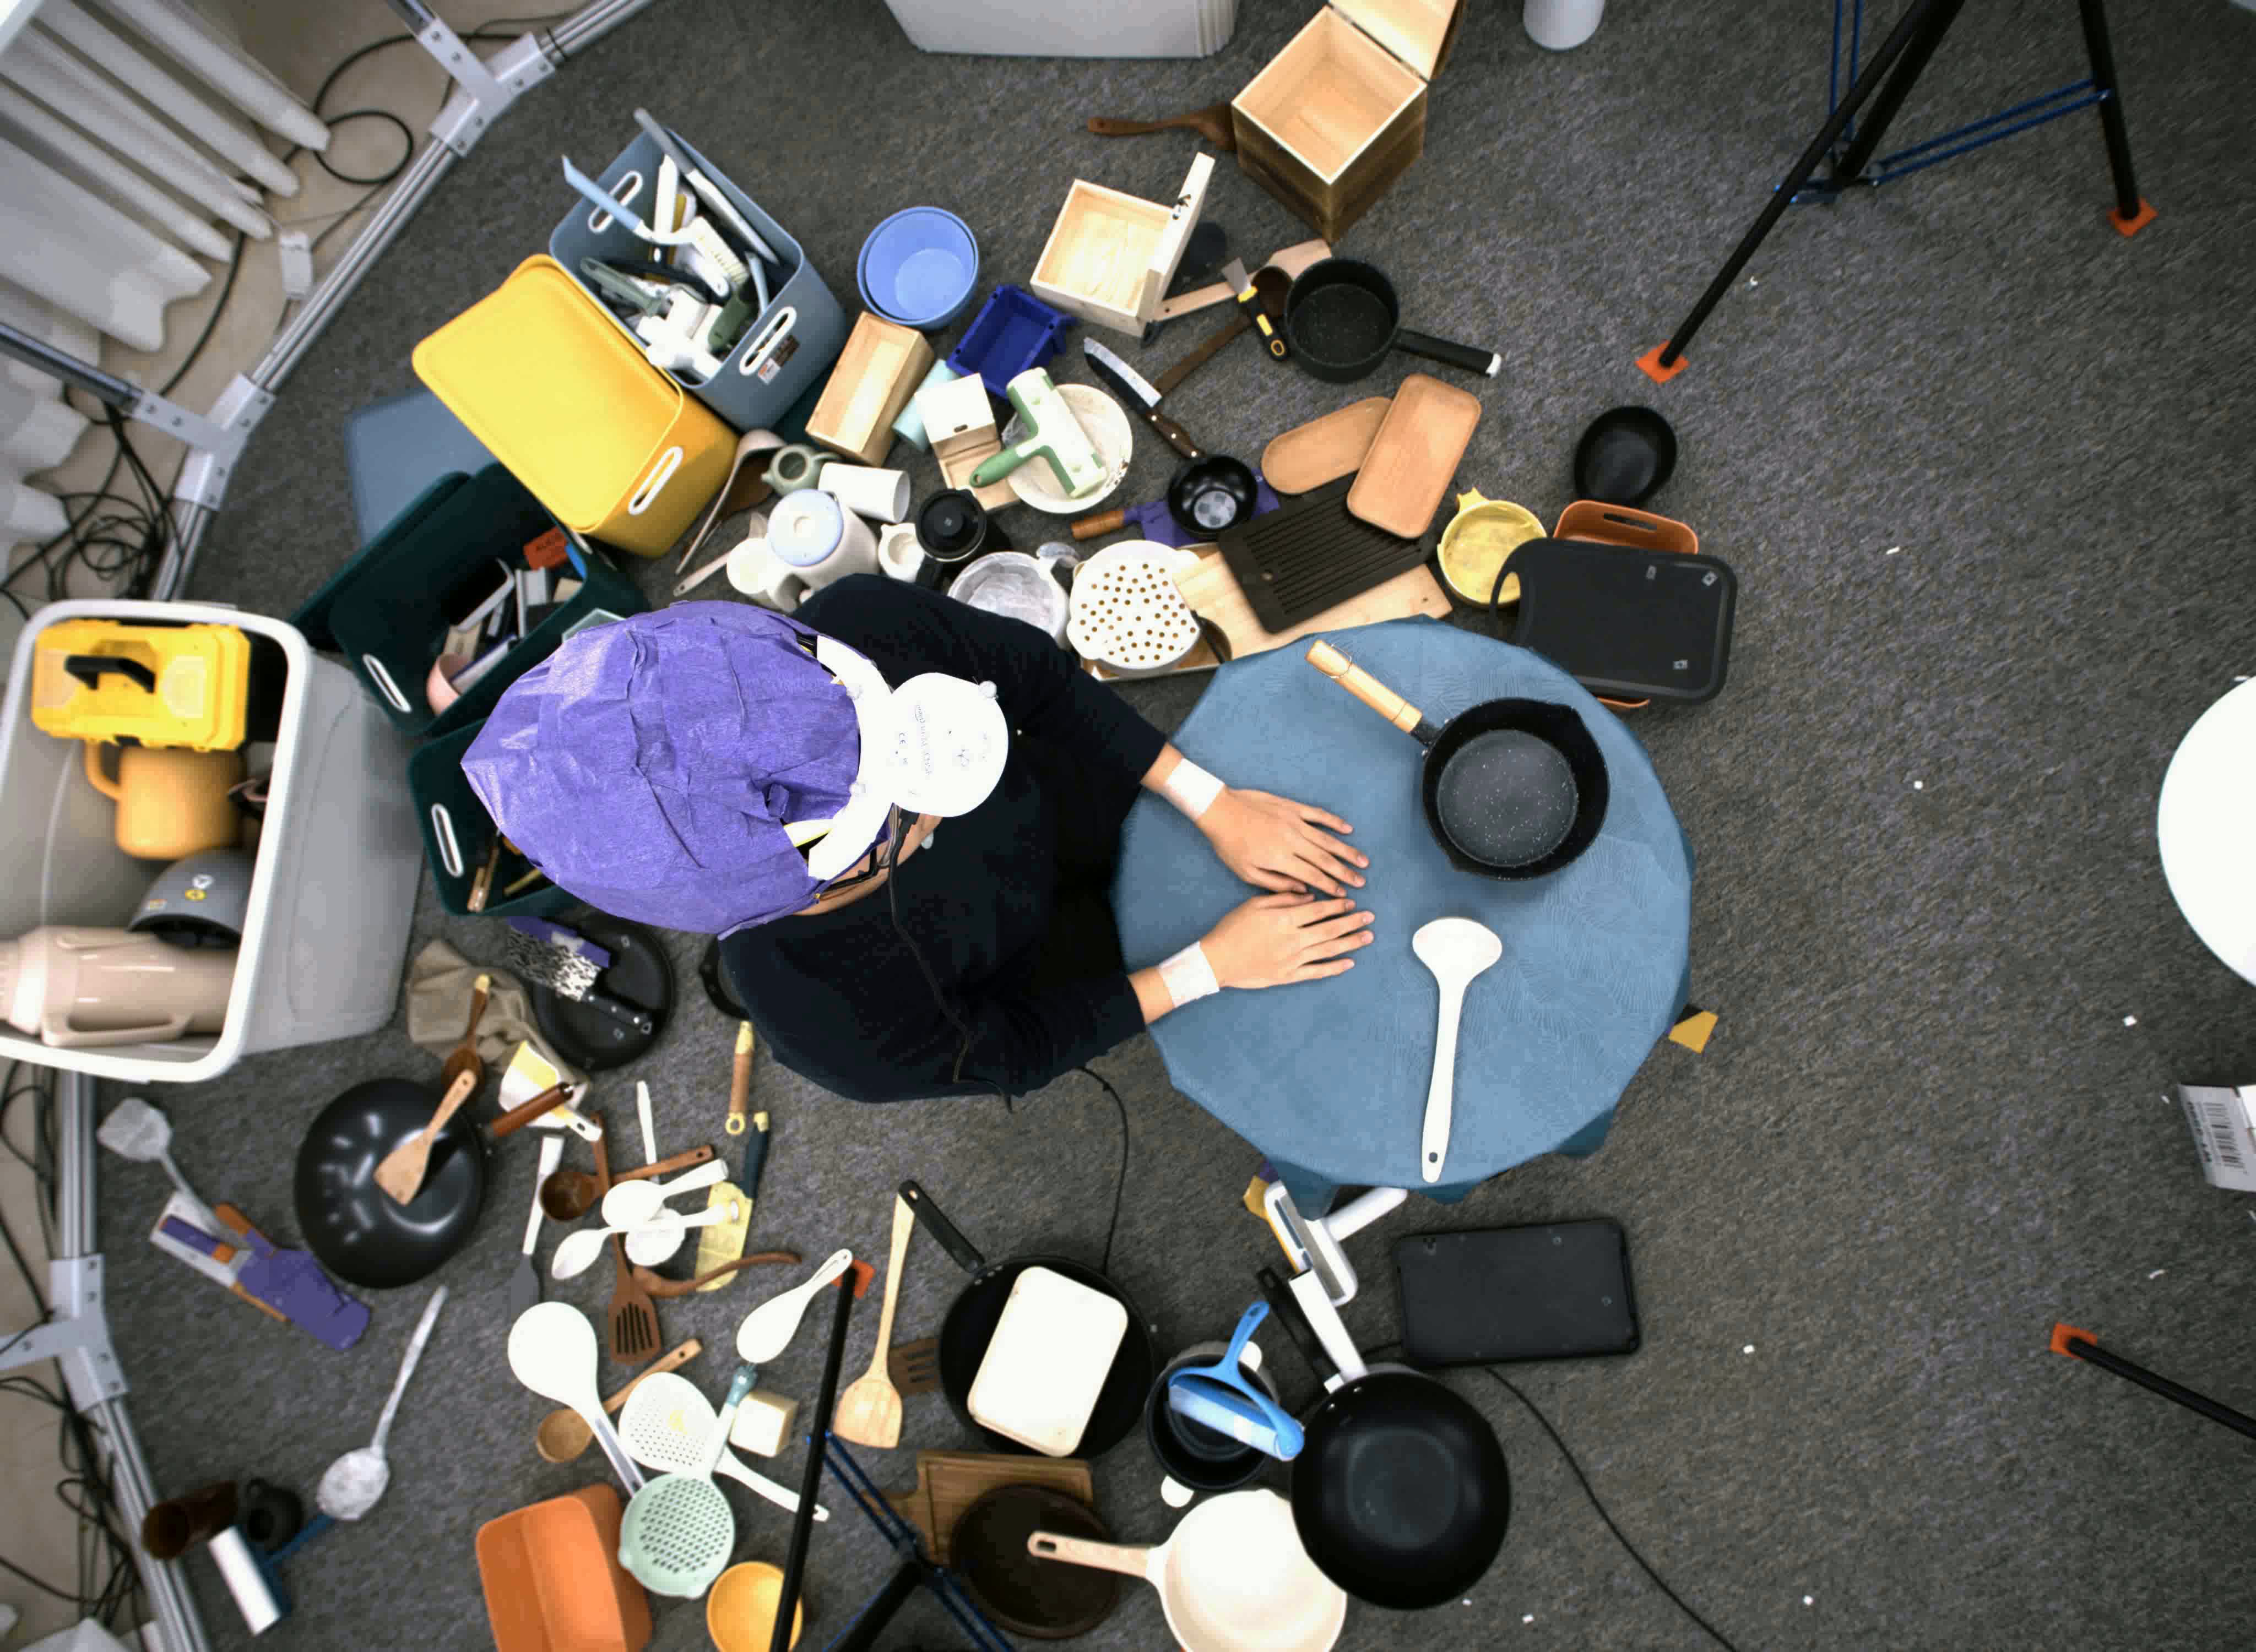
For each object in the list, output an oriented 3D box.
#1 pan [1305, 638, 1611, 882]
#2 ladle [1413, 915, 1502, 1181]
[{"bbox_3d":[0.324,-0.080,1.403,0.342,0.108,0.208,35,94,9],"label":"pan"},{"bbox_3d":[0.324,0.226,1.406,0.089,0.069,0.274,6,87,7],"label":"ladle"}]
